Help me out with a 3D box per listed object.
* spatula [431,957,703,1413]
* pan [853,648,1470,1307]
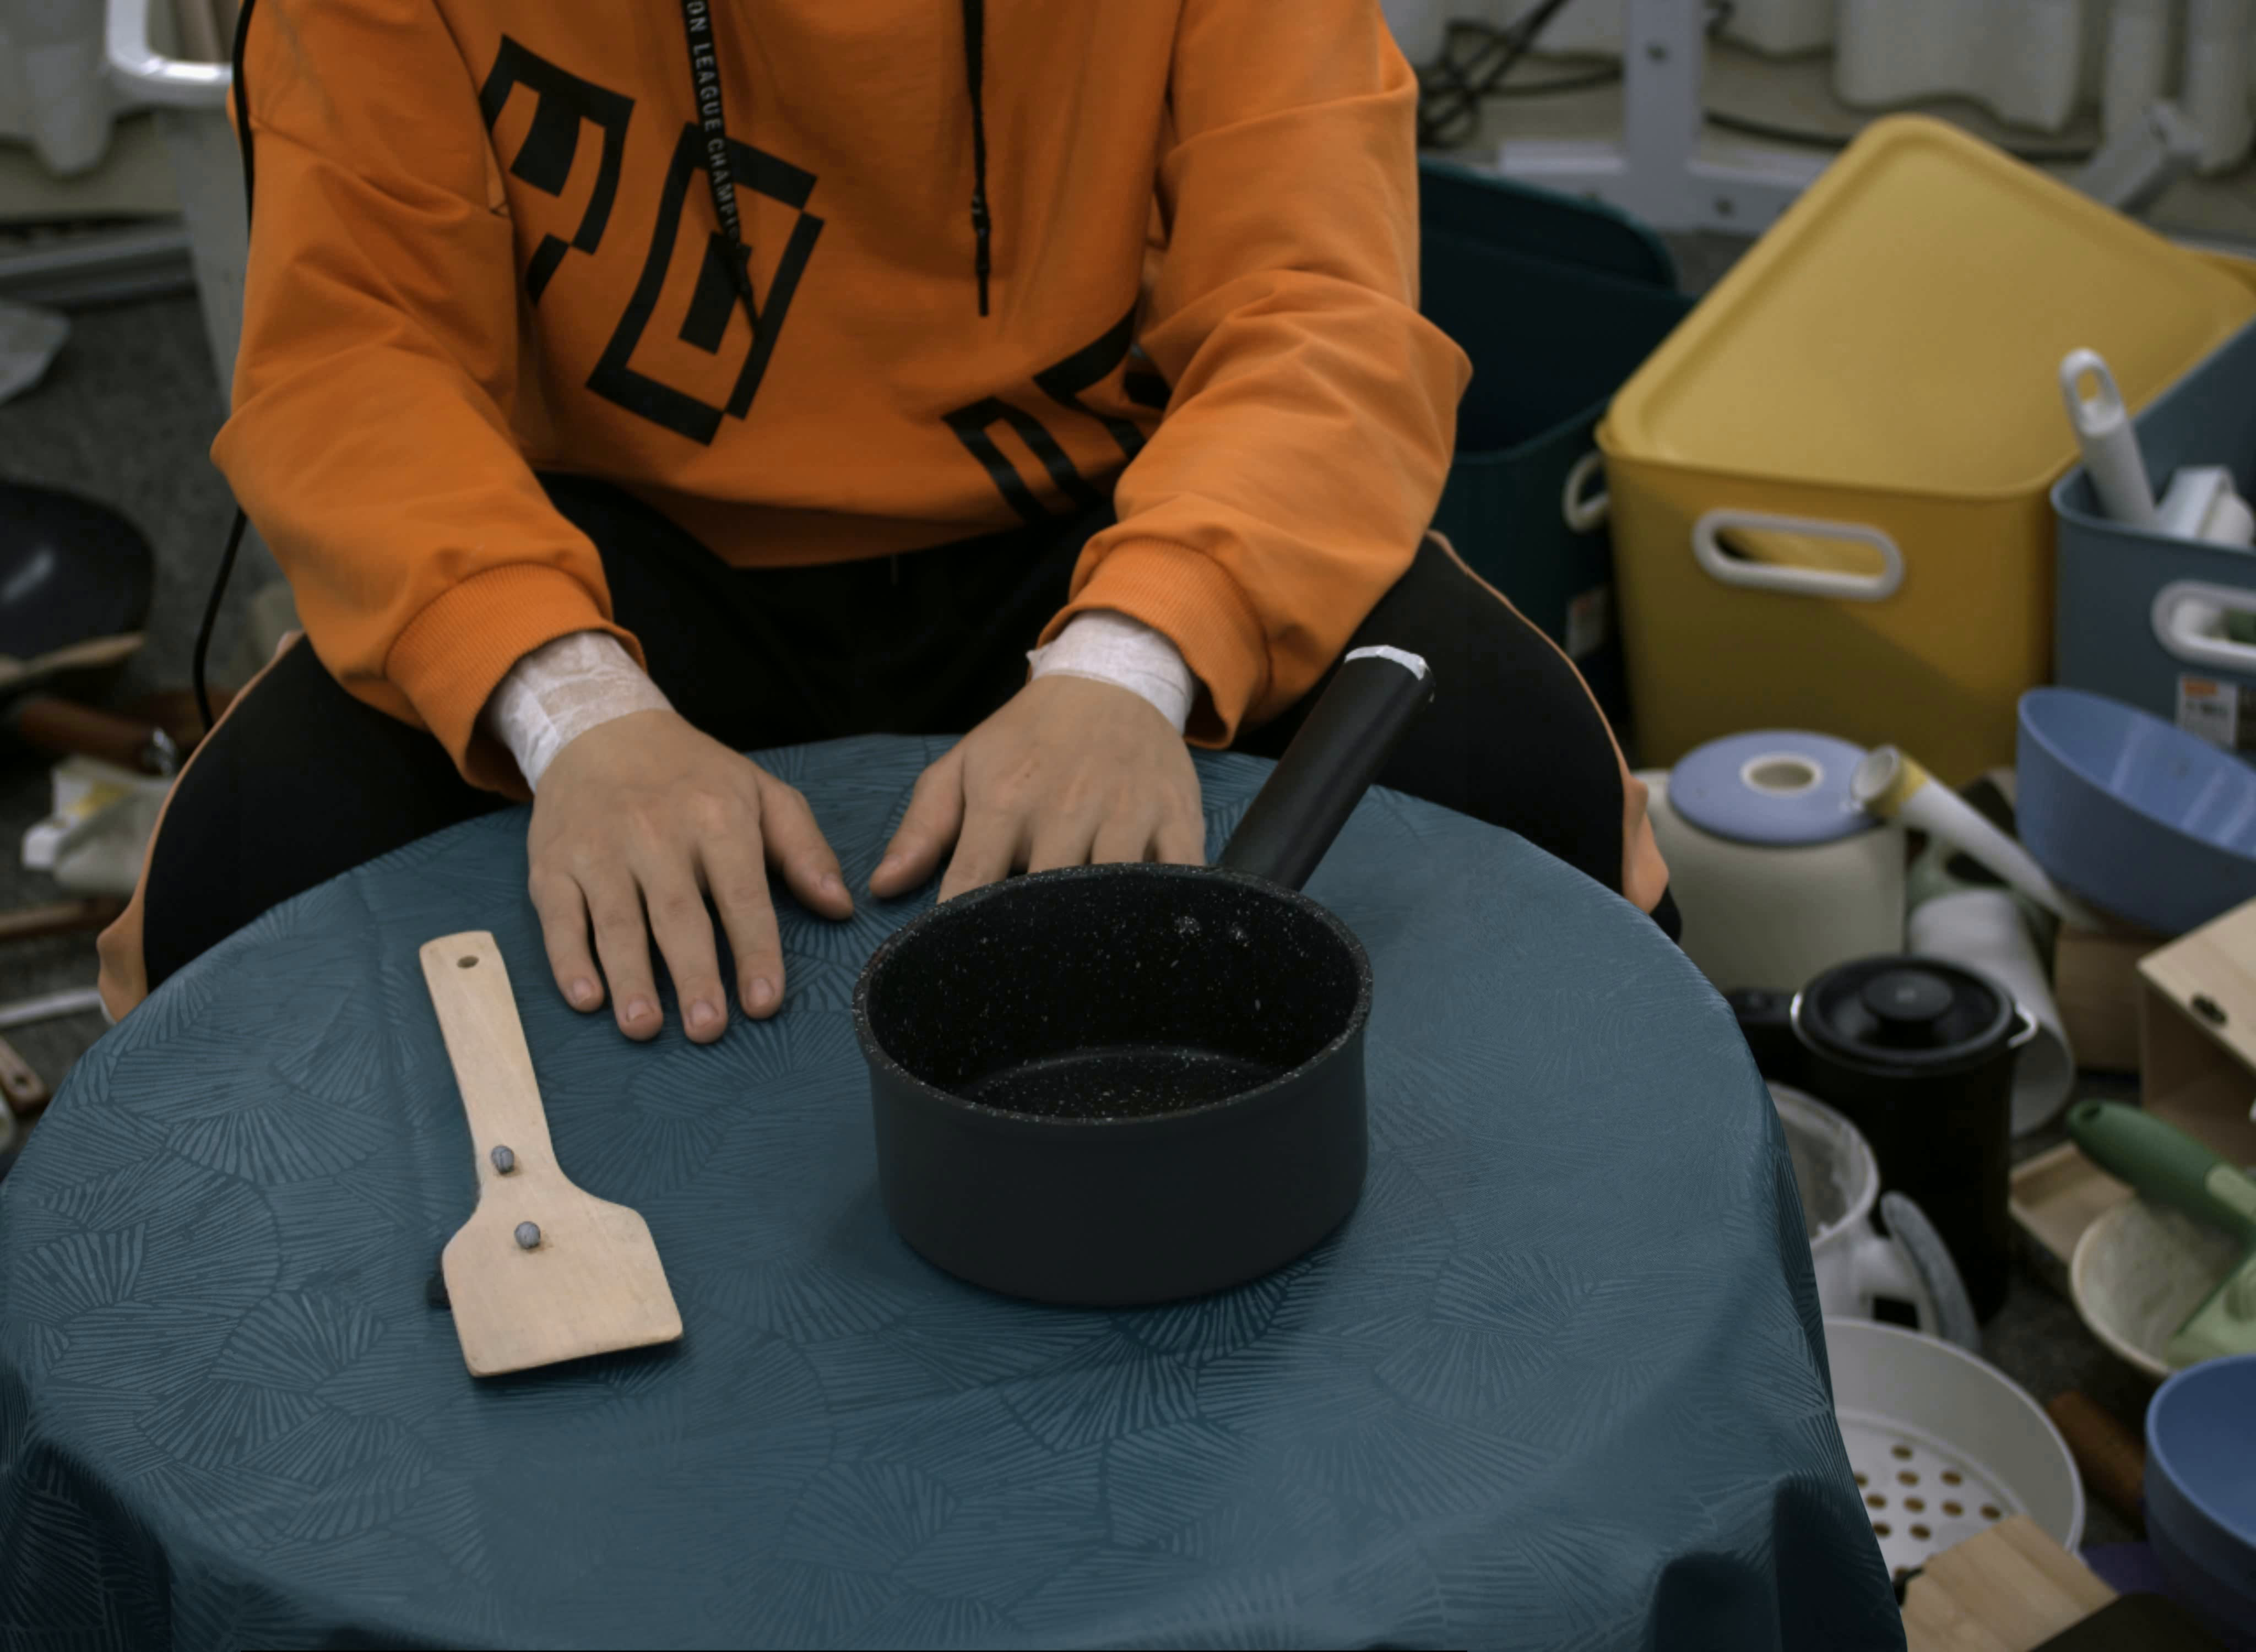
[{"bbox_3d":[-0.204,0.117,1.901,0.072,0.010,0.296,-11,29,-10],"label":"spatula"},{"bbox_3d":[0.033,0.047,1.912,0.171,0.085,0.334,12,32,25],"label":"pan"}]
